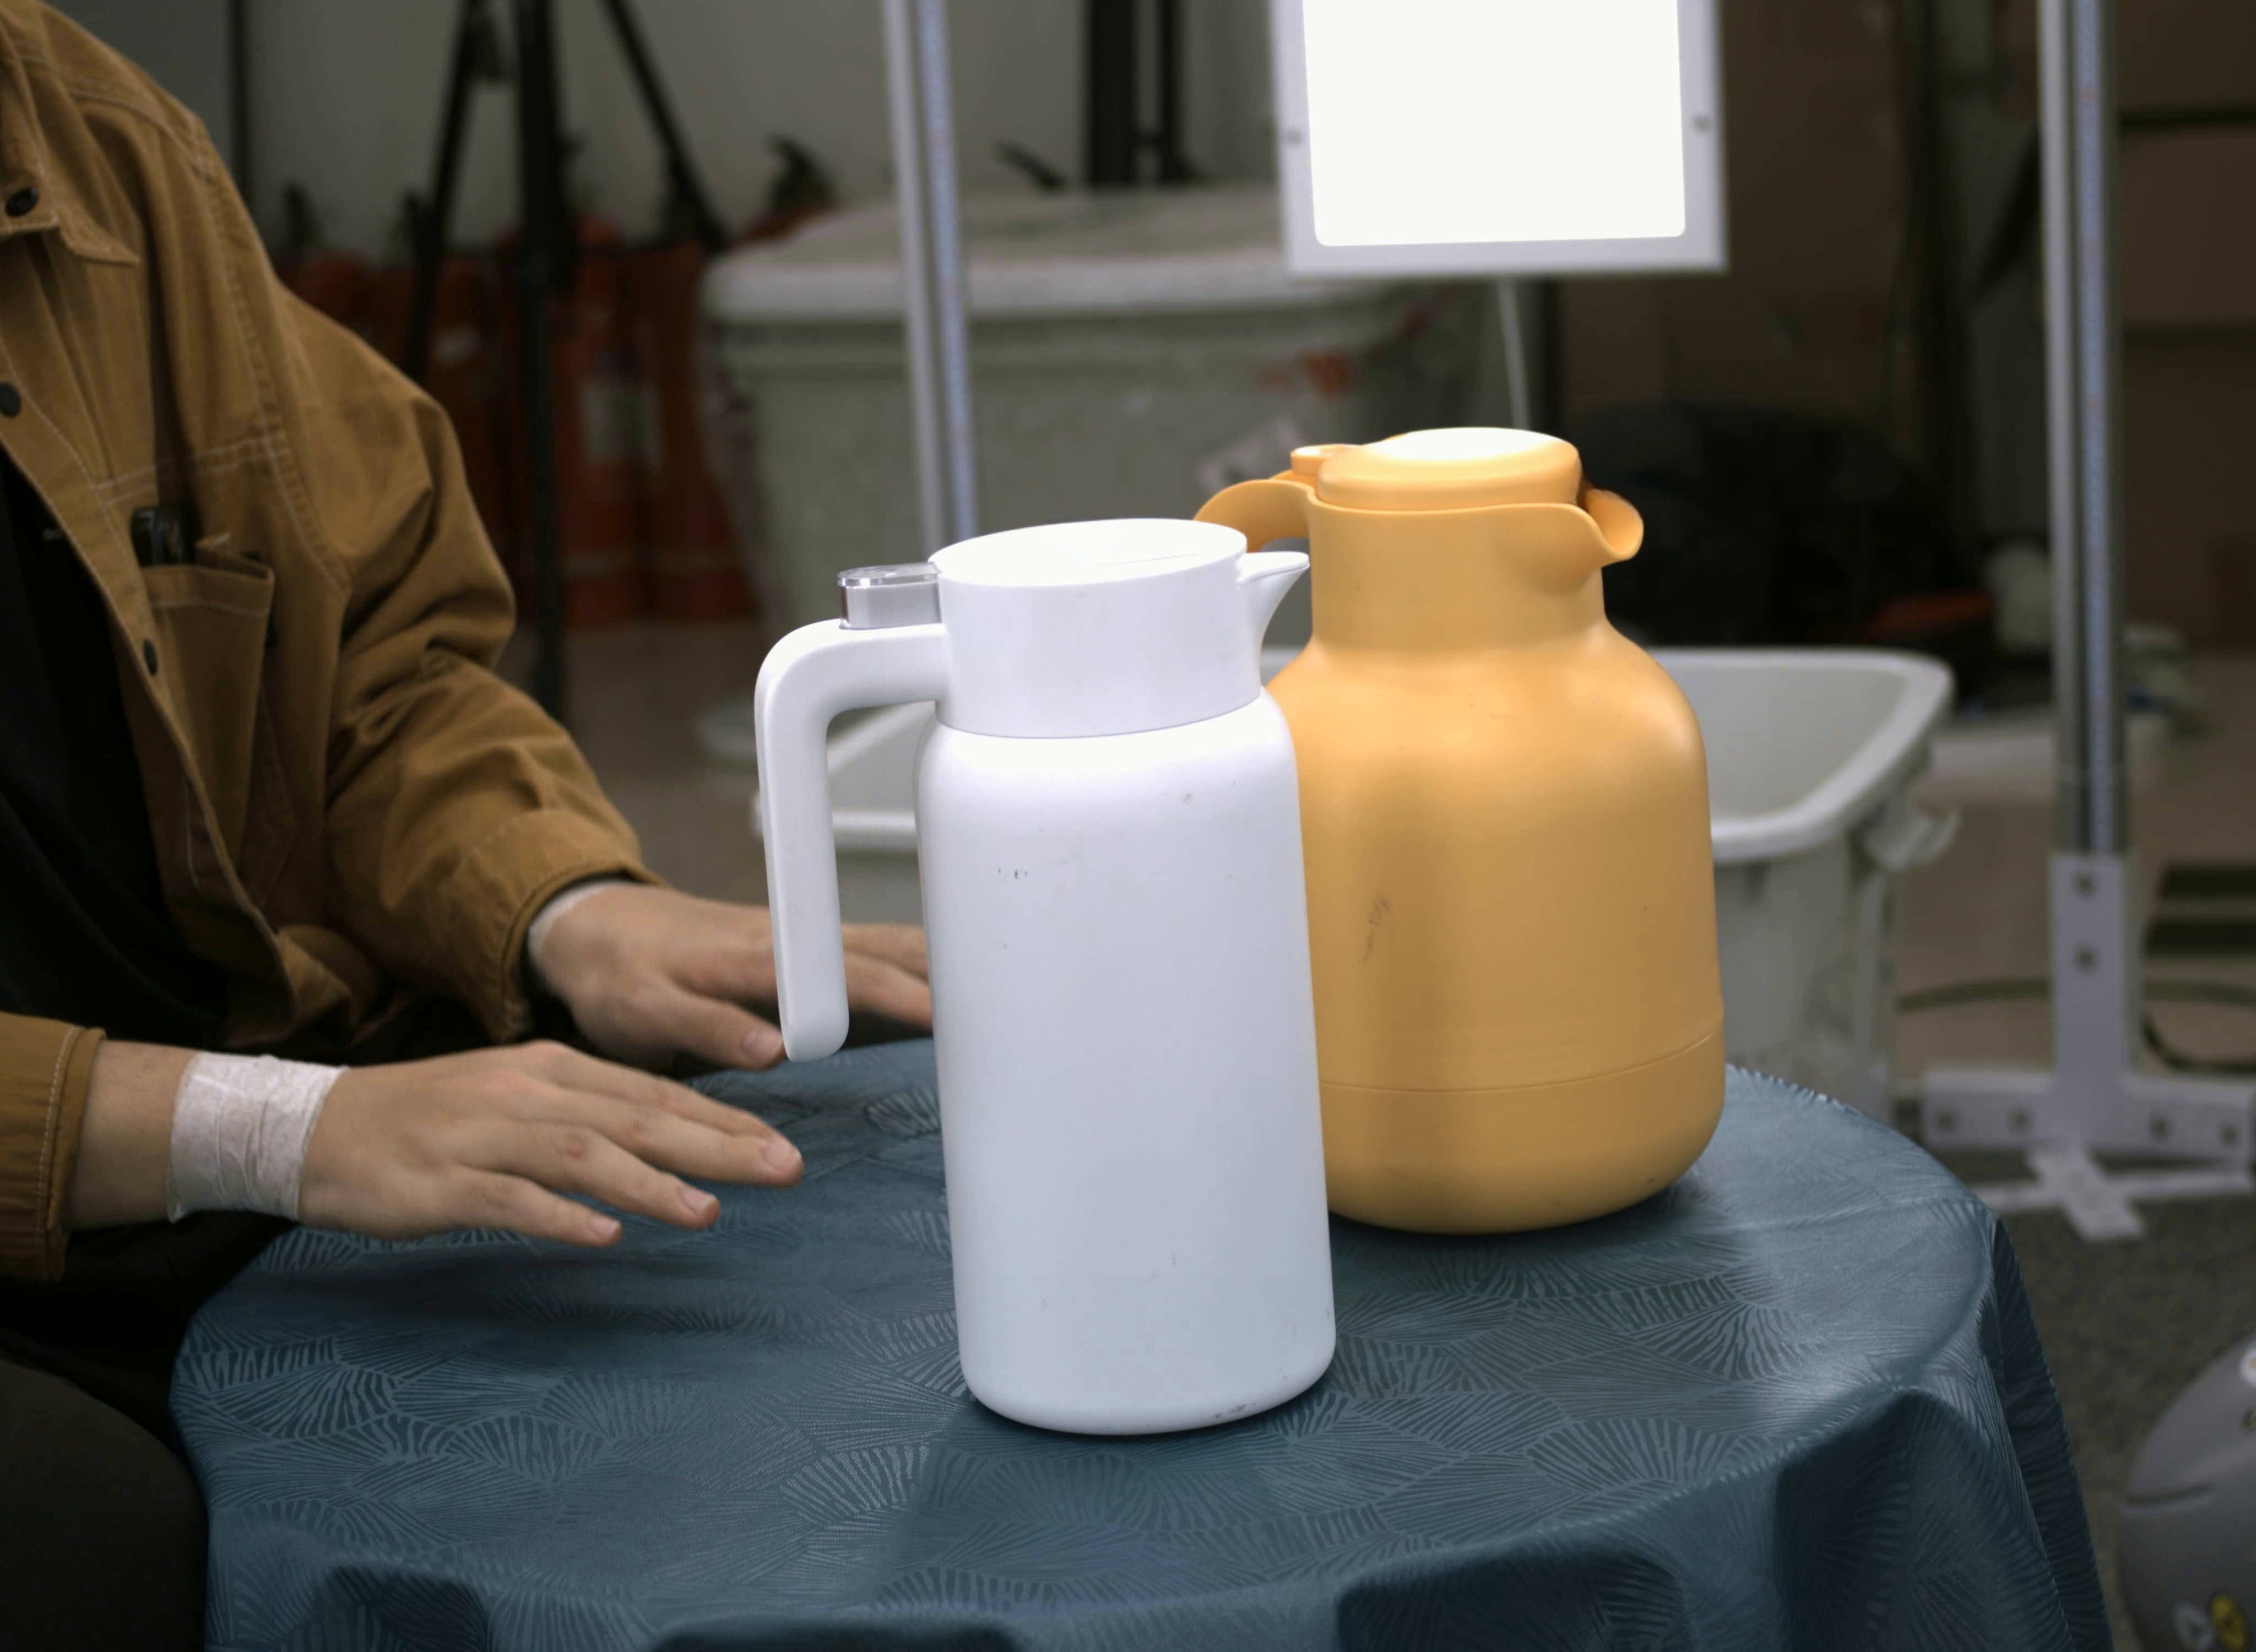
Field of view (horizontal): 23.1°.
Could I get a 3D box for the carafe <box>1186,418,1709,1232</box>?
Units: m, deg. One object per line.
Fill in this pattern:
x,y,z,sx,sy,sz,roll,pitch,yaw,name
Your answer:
0.100,-0.007,1.852,0.159,0.261,0.207,-13,17,-41,carafe

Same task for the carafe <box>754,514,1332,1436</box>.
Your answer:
-0.020,0.046,1.674,0.171,0.270,0.124,-7,16,-8,carafe
